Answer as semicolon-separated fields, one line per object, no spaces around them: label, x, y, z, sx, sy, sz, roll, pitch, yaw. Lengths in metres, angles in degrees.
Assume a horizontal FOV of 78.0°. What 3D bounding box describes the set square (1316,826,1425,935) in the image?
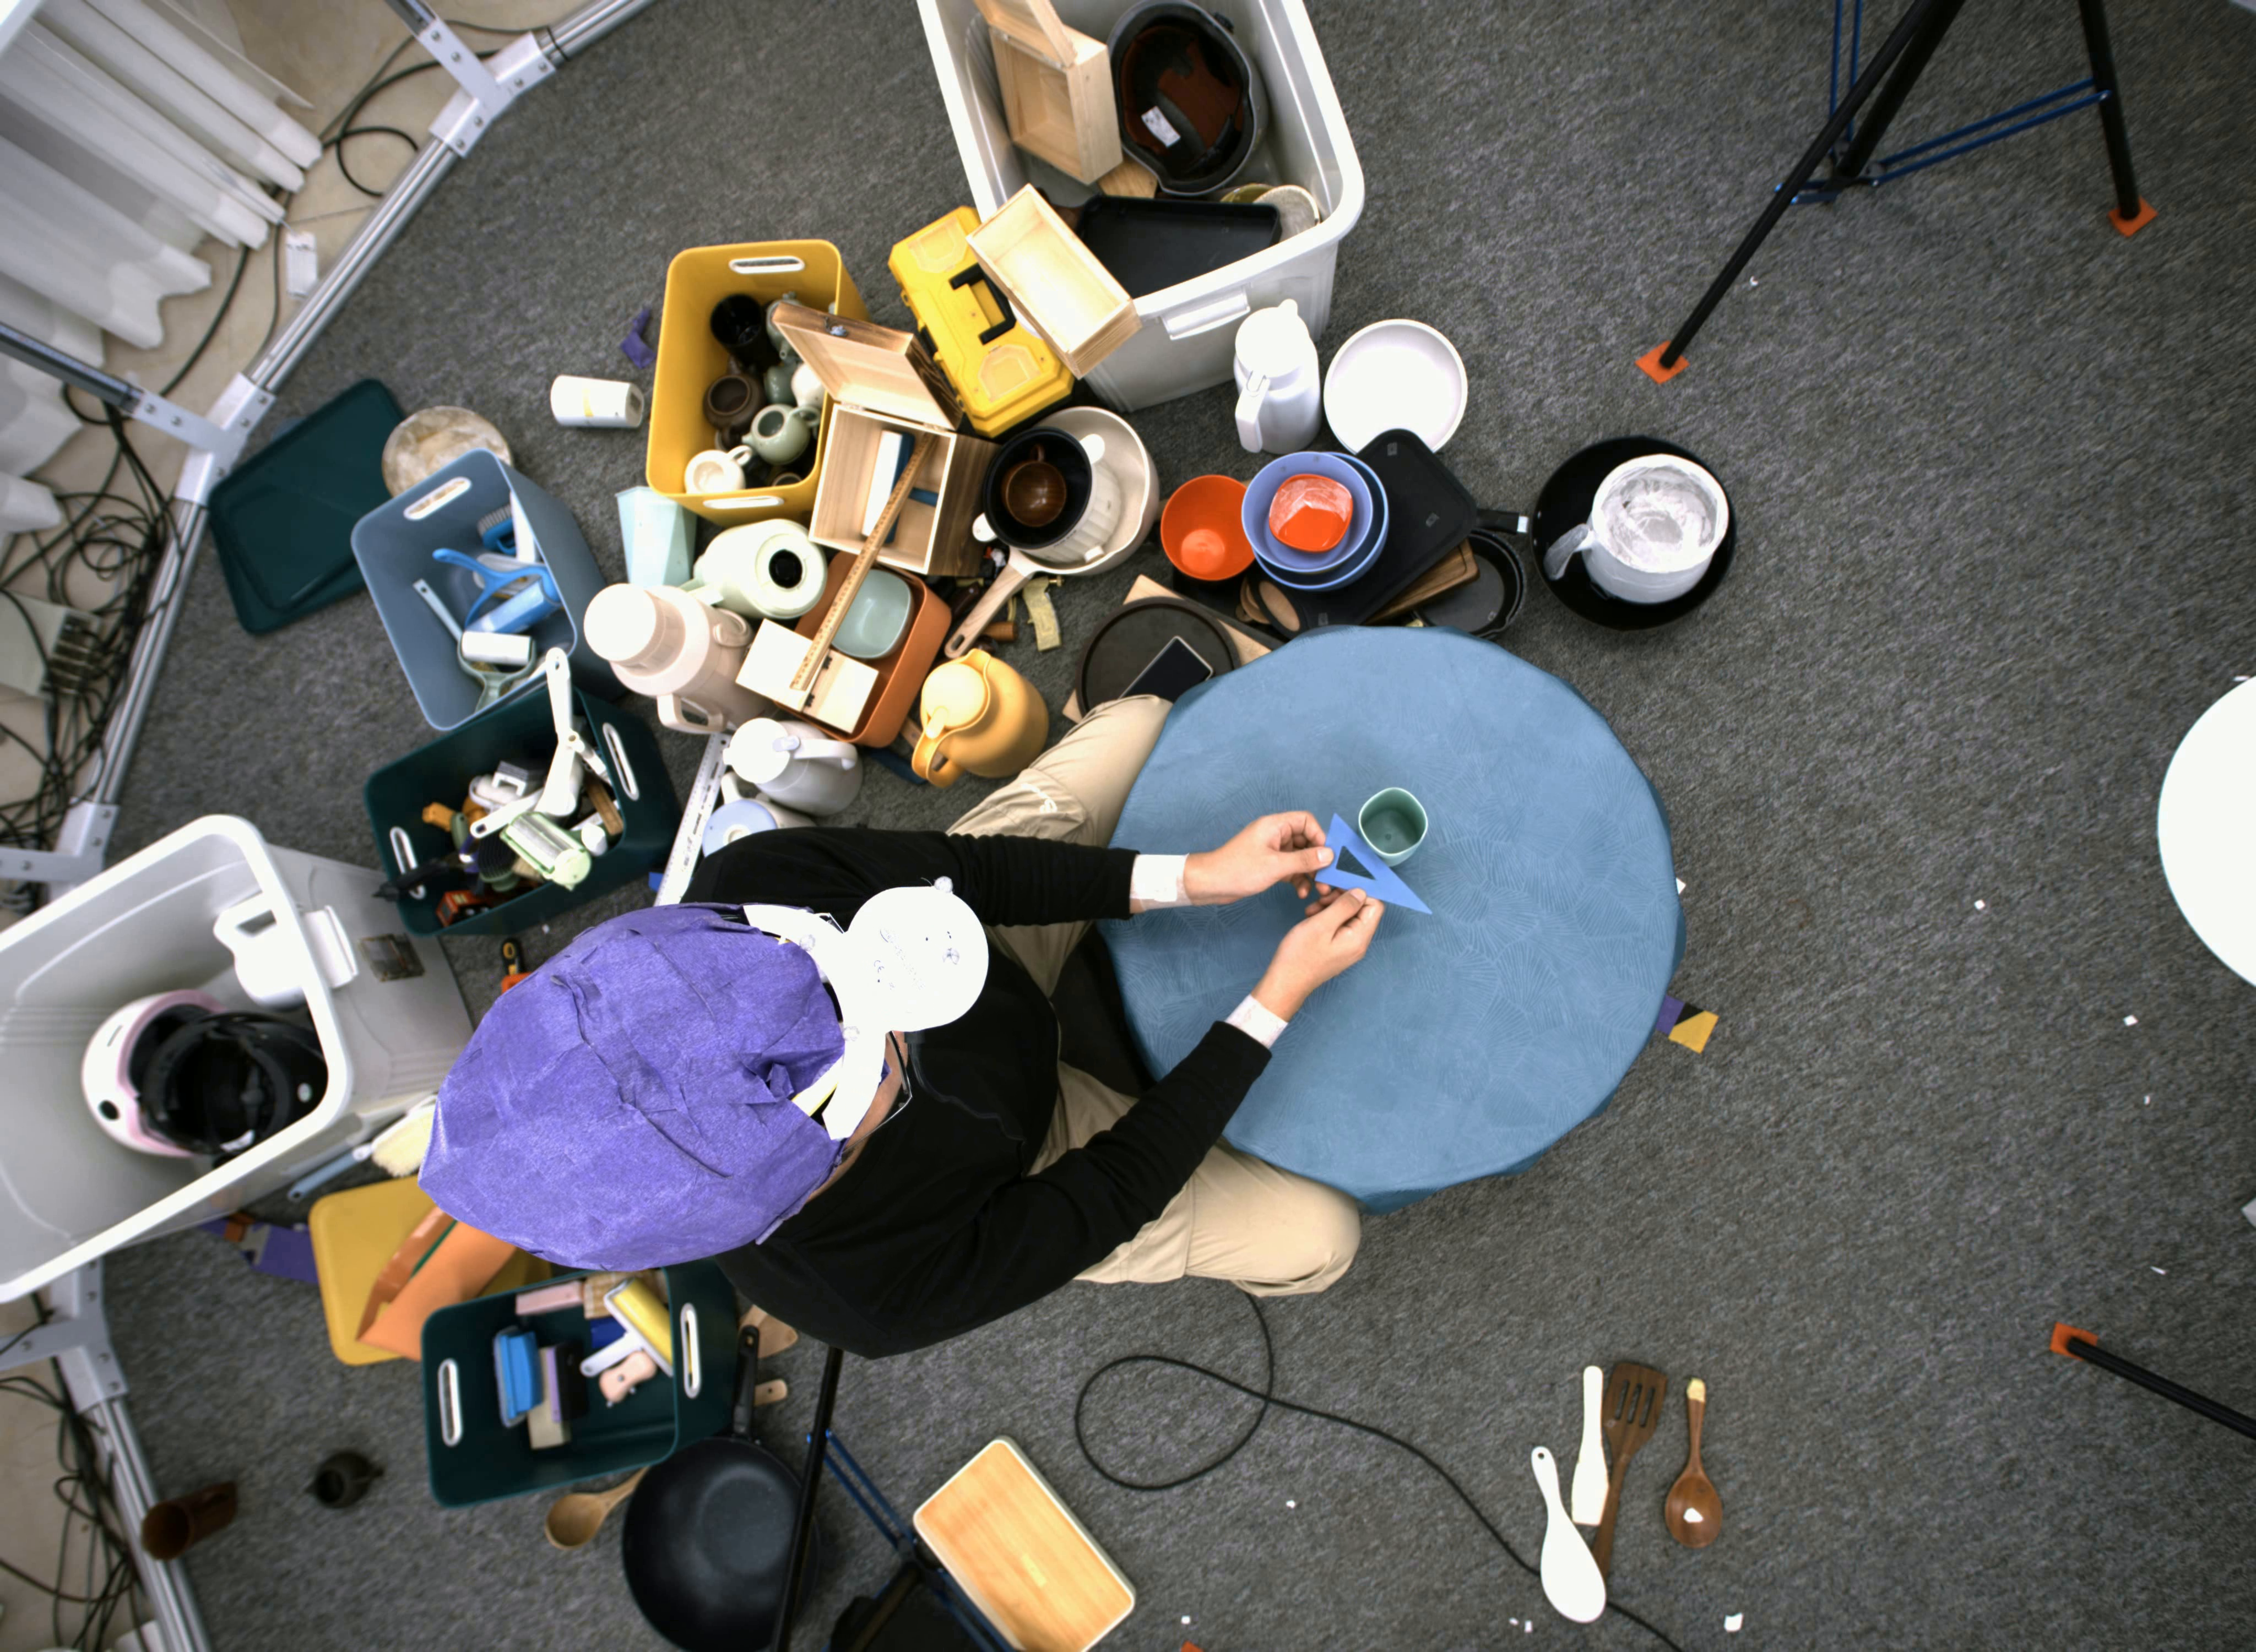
set square;0.232;0.066;1.366;0.061;0.006;0.131;-40;82;6

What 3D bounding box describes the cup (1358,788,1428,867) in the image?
cup;0.266;0.003;1.401;0.067;0.132;0.066;-1;83;8
